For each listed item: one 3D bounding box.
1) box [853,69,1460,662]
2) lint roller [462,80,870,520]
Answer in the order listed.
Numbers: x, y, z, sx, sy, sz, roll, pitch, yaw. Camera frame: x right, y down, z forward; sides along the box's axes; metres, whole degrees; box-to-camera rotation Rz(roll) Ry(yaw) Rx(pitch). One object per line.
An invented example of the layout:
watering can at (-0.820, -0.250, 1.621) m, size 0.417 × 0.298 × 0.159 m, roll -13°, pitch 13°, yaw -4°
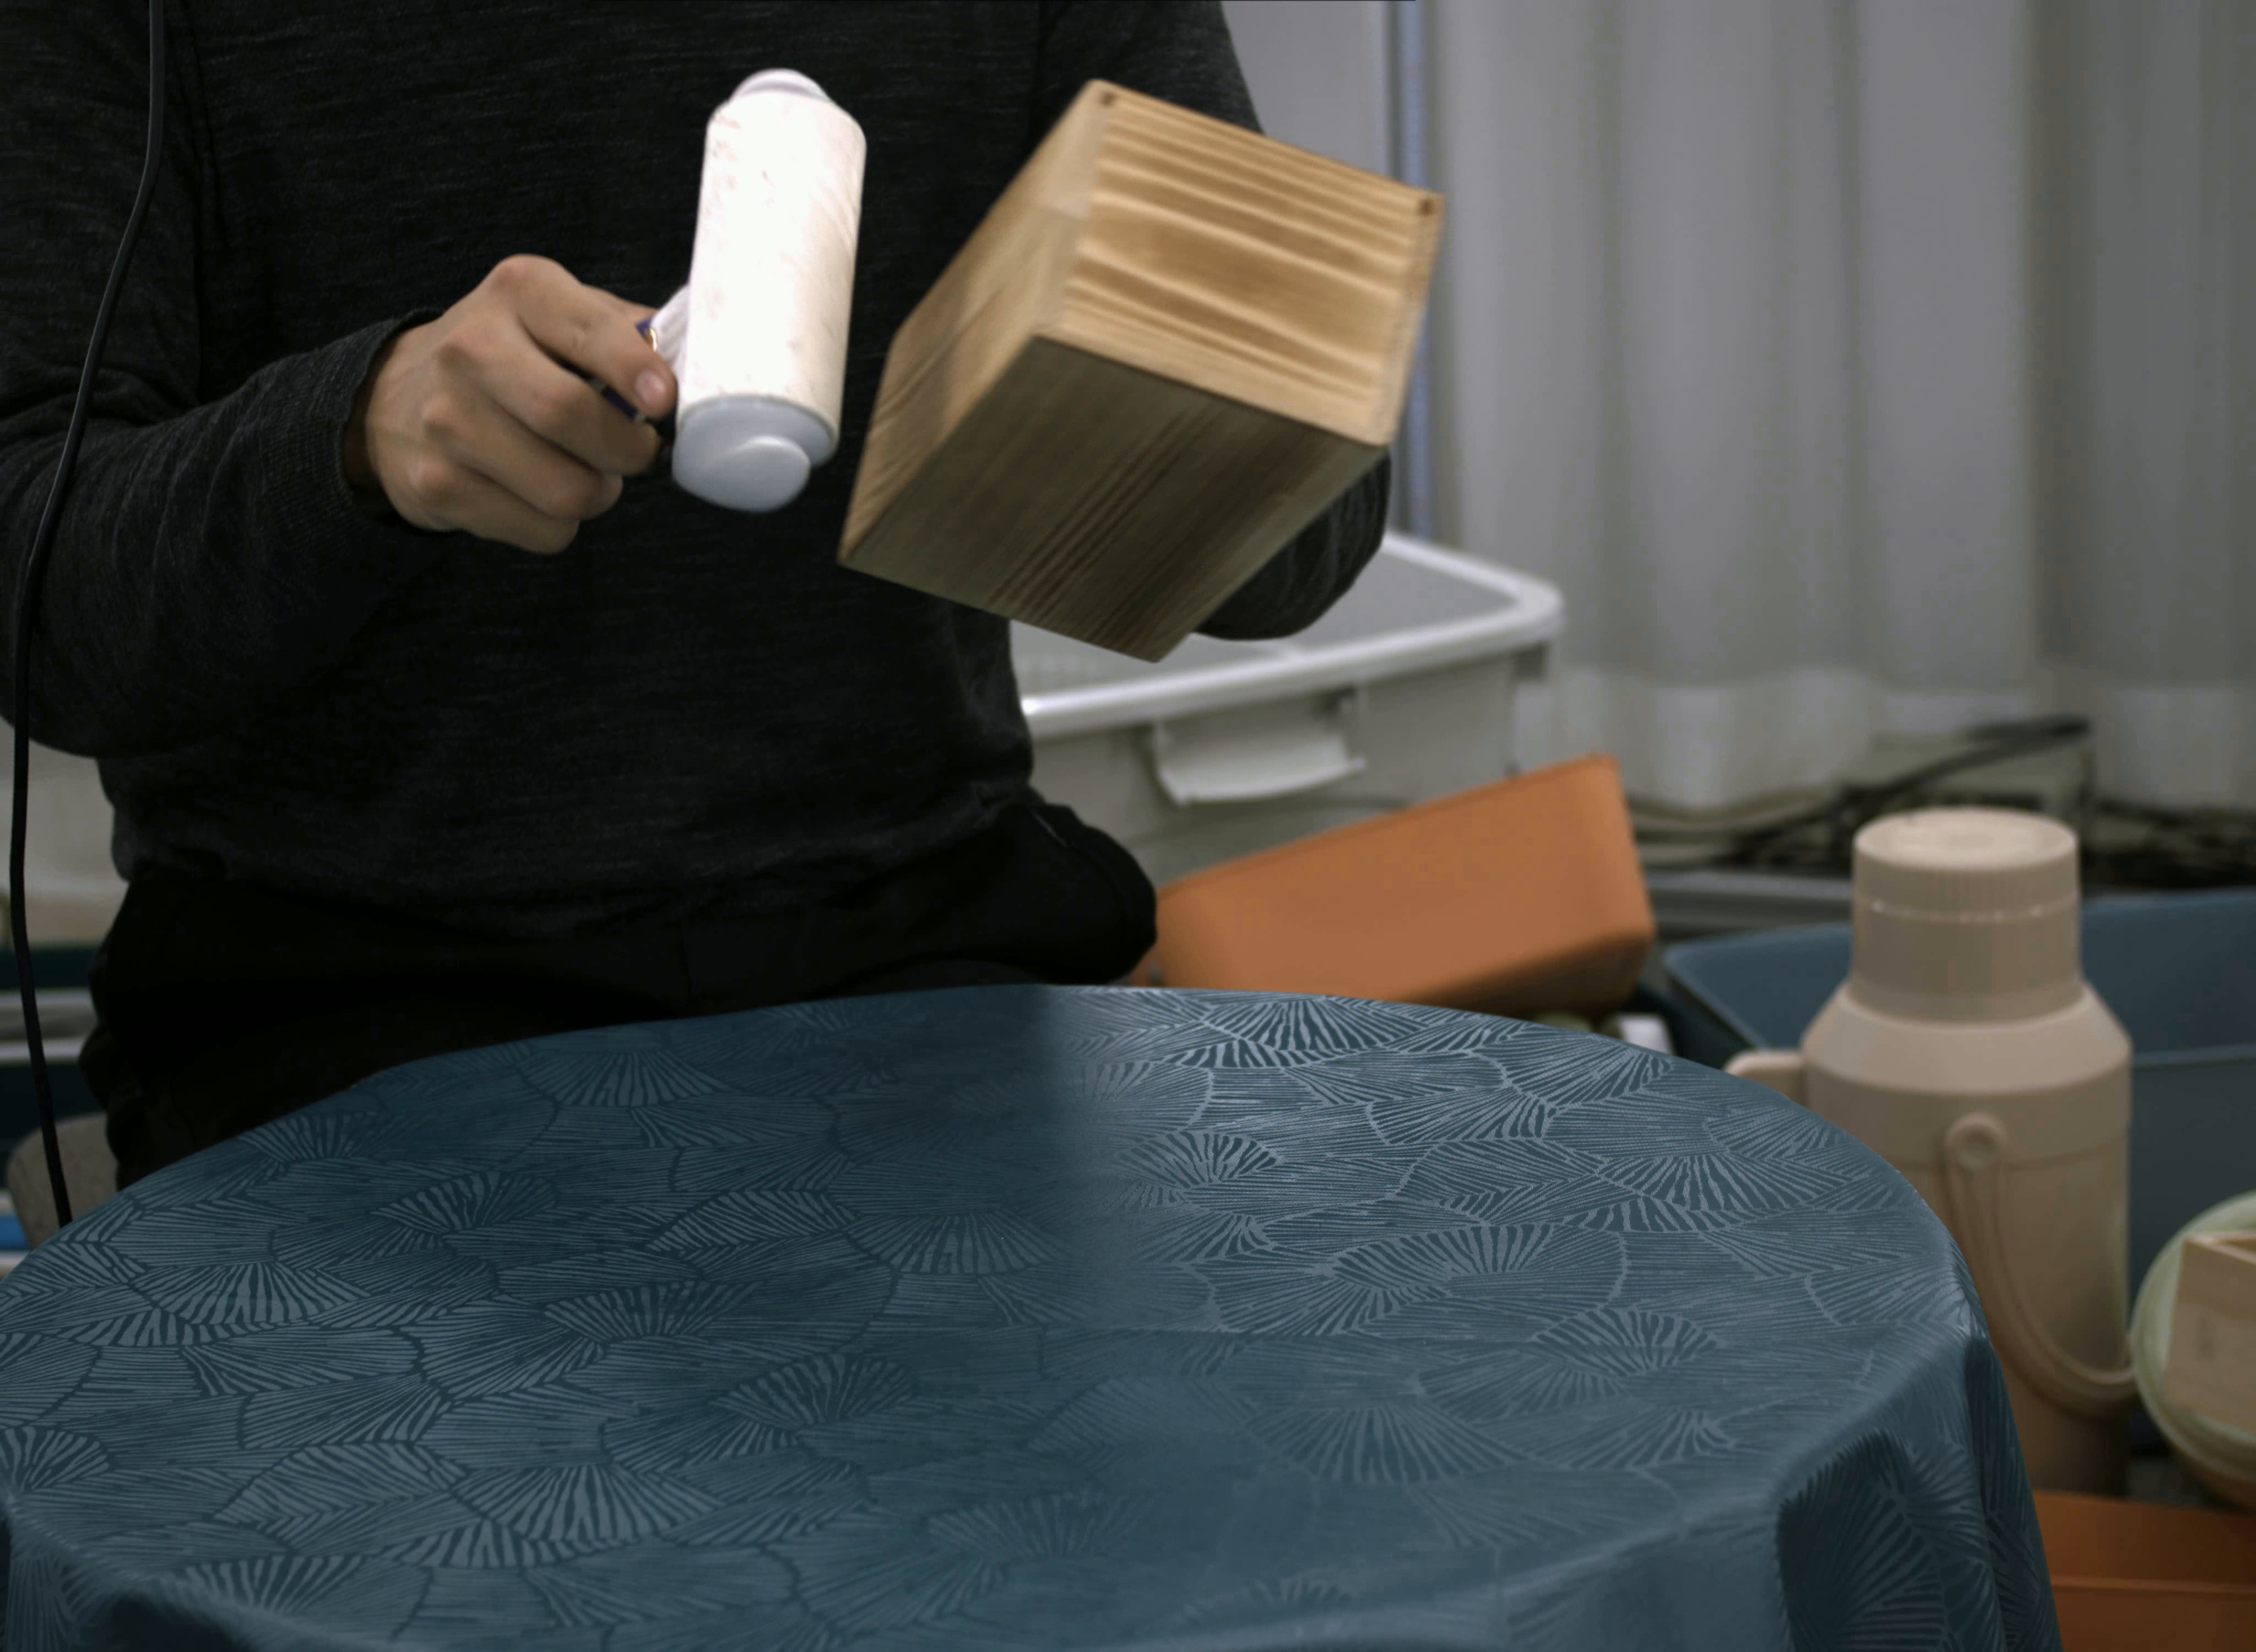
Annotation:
box at (0.004, -0.128, 1.590) m, size 0.107 × 0.081 × 0.210 m, roll 17°, pitch -21°, yaw -14°
lint roller at (-0.148, -0.137, 1.612) m, size 0.180 × 0.134 × 0.049 m, roll -17°, pitch -31°, yaw 39°
